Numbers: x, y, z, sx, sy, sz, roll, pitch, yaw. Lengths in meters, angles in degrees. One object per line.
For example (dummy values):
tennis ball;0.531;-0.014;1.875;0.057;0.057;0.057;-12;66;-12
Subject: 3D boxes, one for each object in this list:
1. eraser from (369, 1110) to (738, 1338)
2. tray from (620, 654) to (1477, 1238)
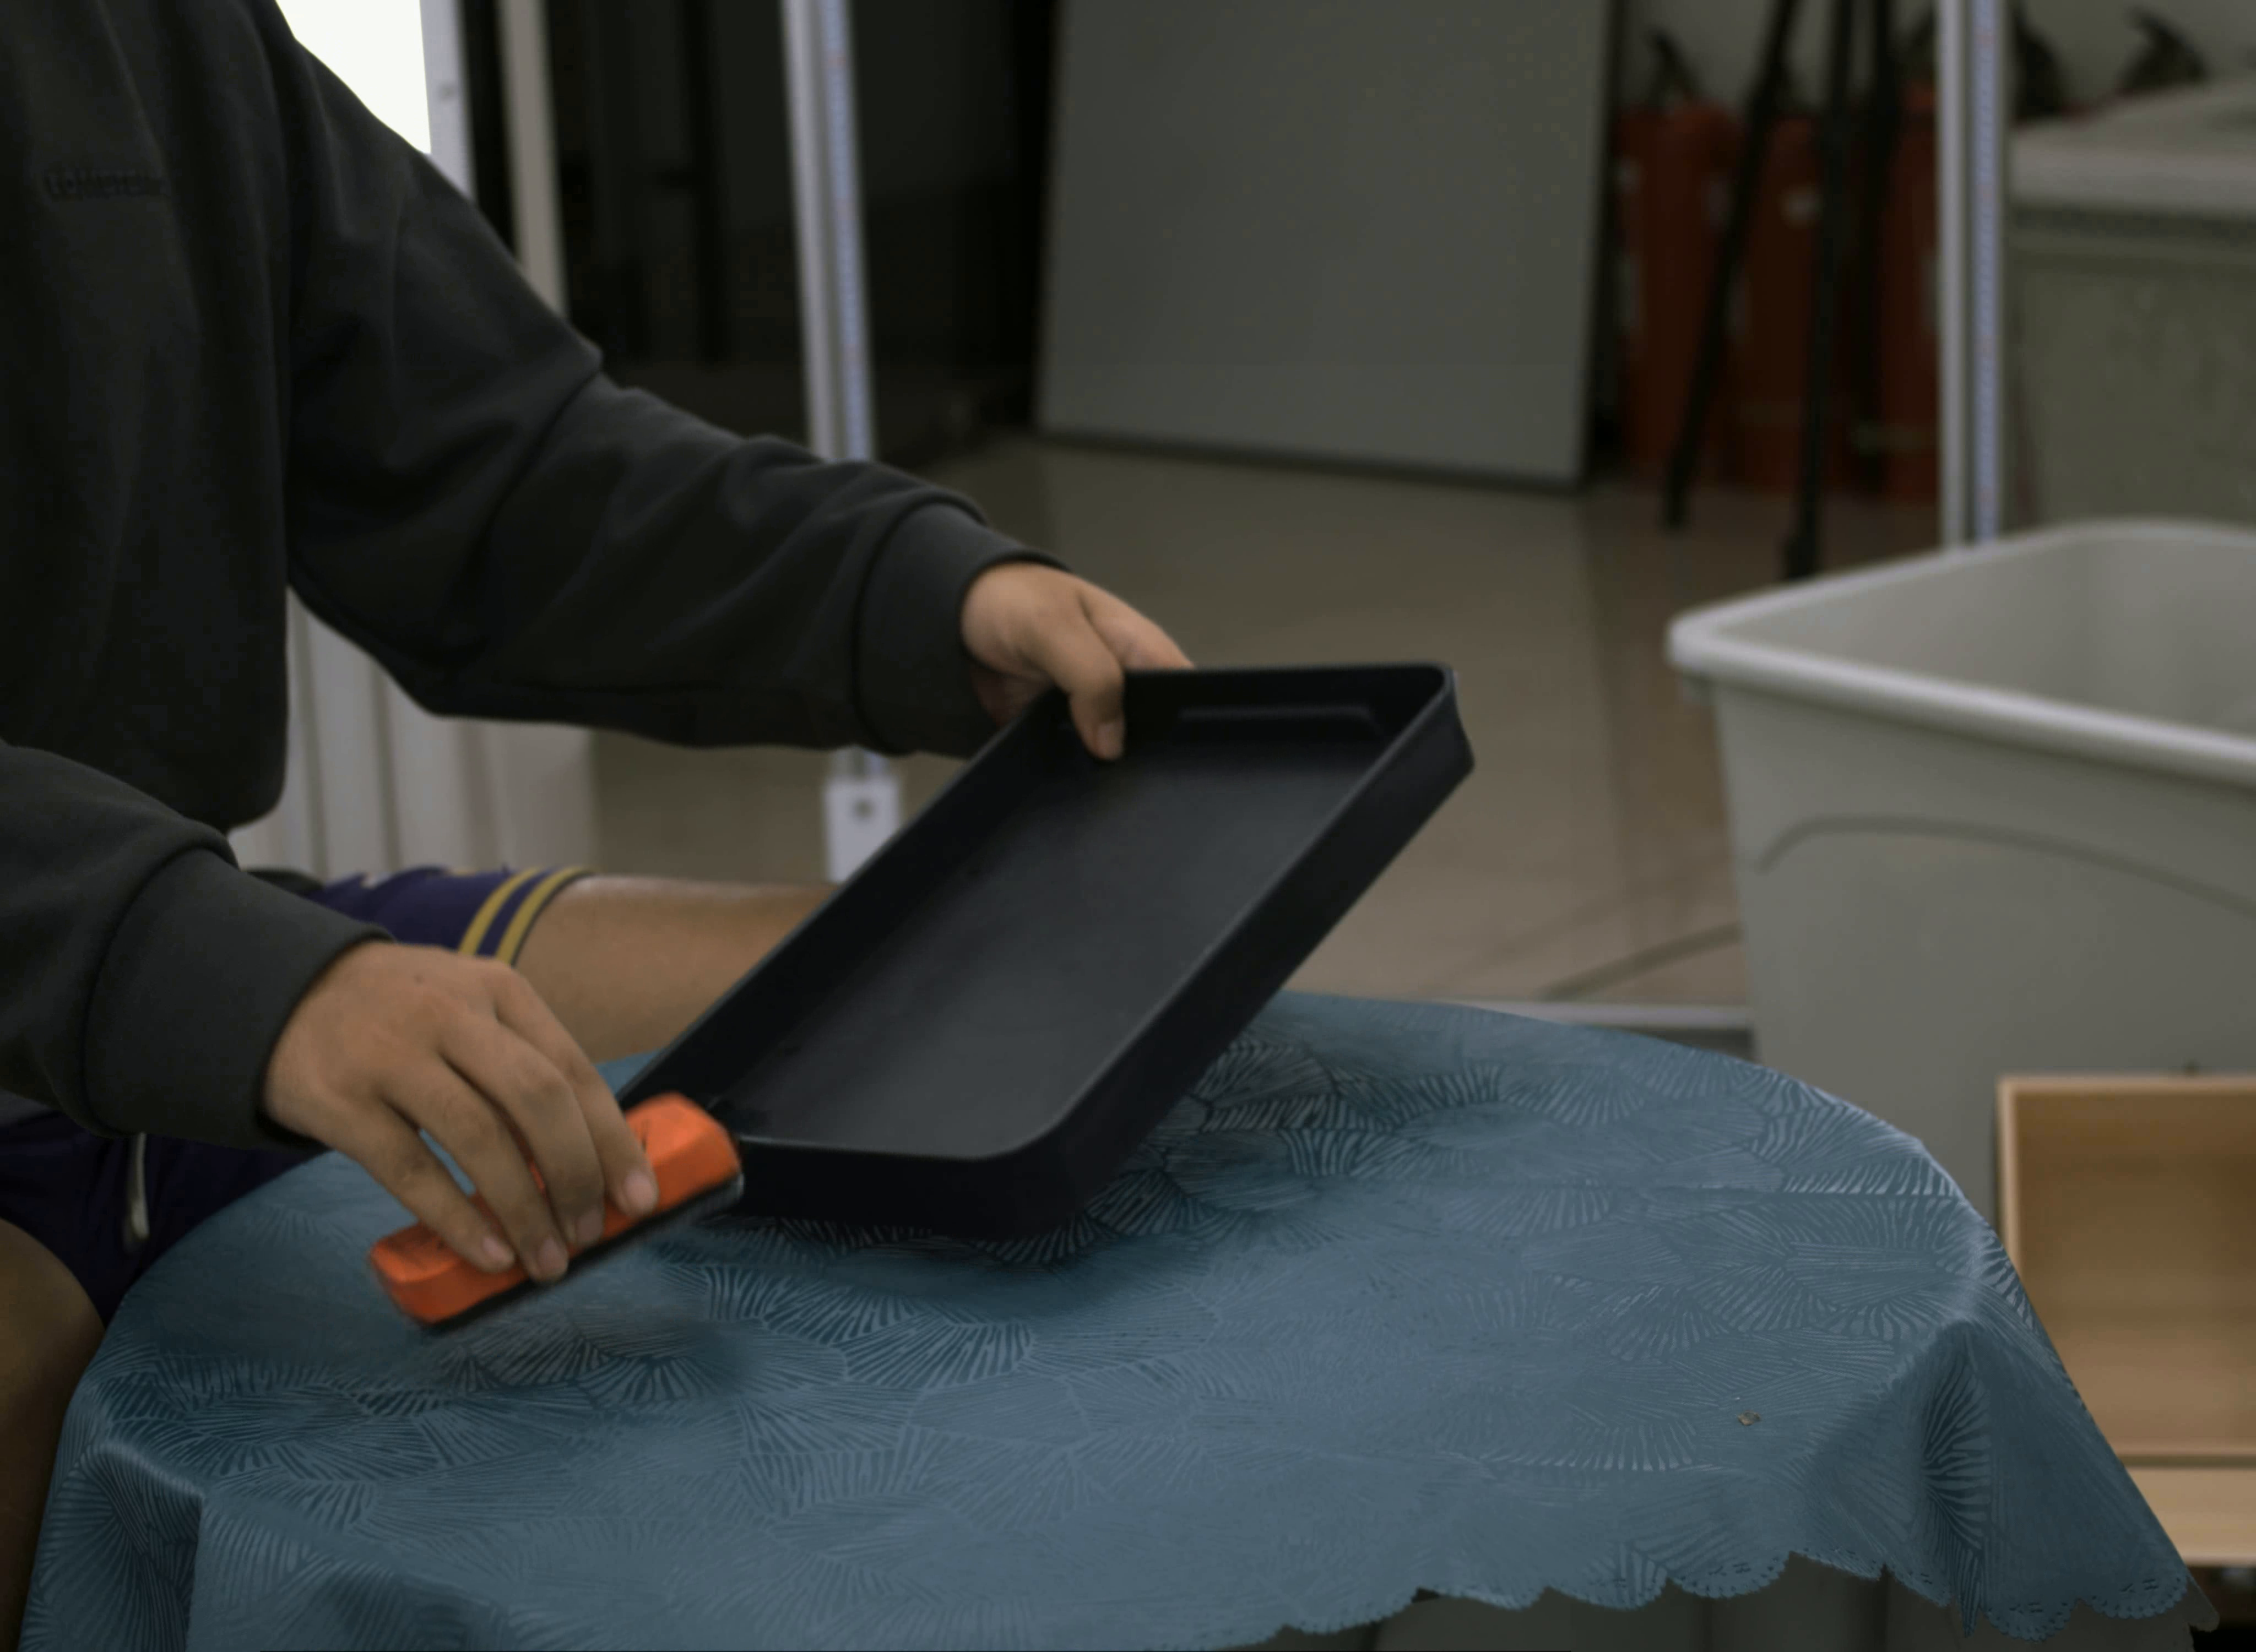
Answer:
eraser;-0.174;0.120;1.642;0.106;0.023;0.059;-27;9;-18
tray;-0.020;0.036;1.832;0.185;0.037;0.315;-2;30;35
